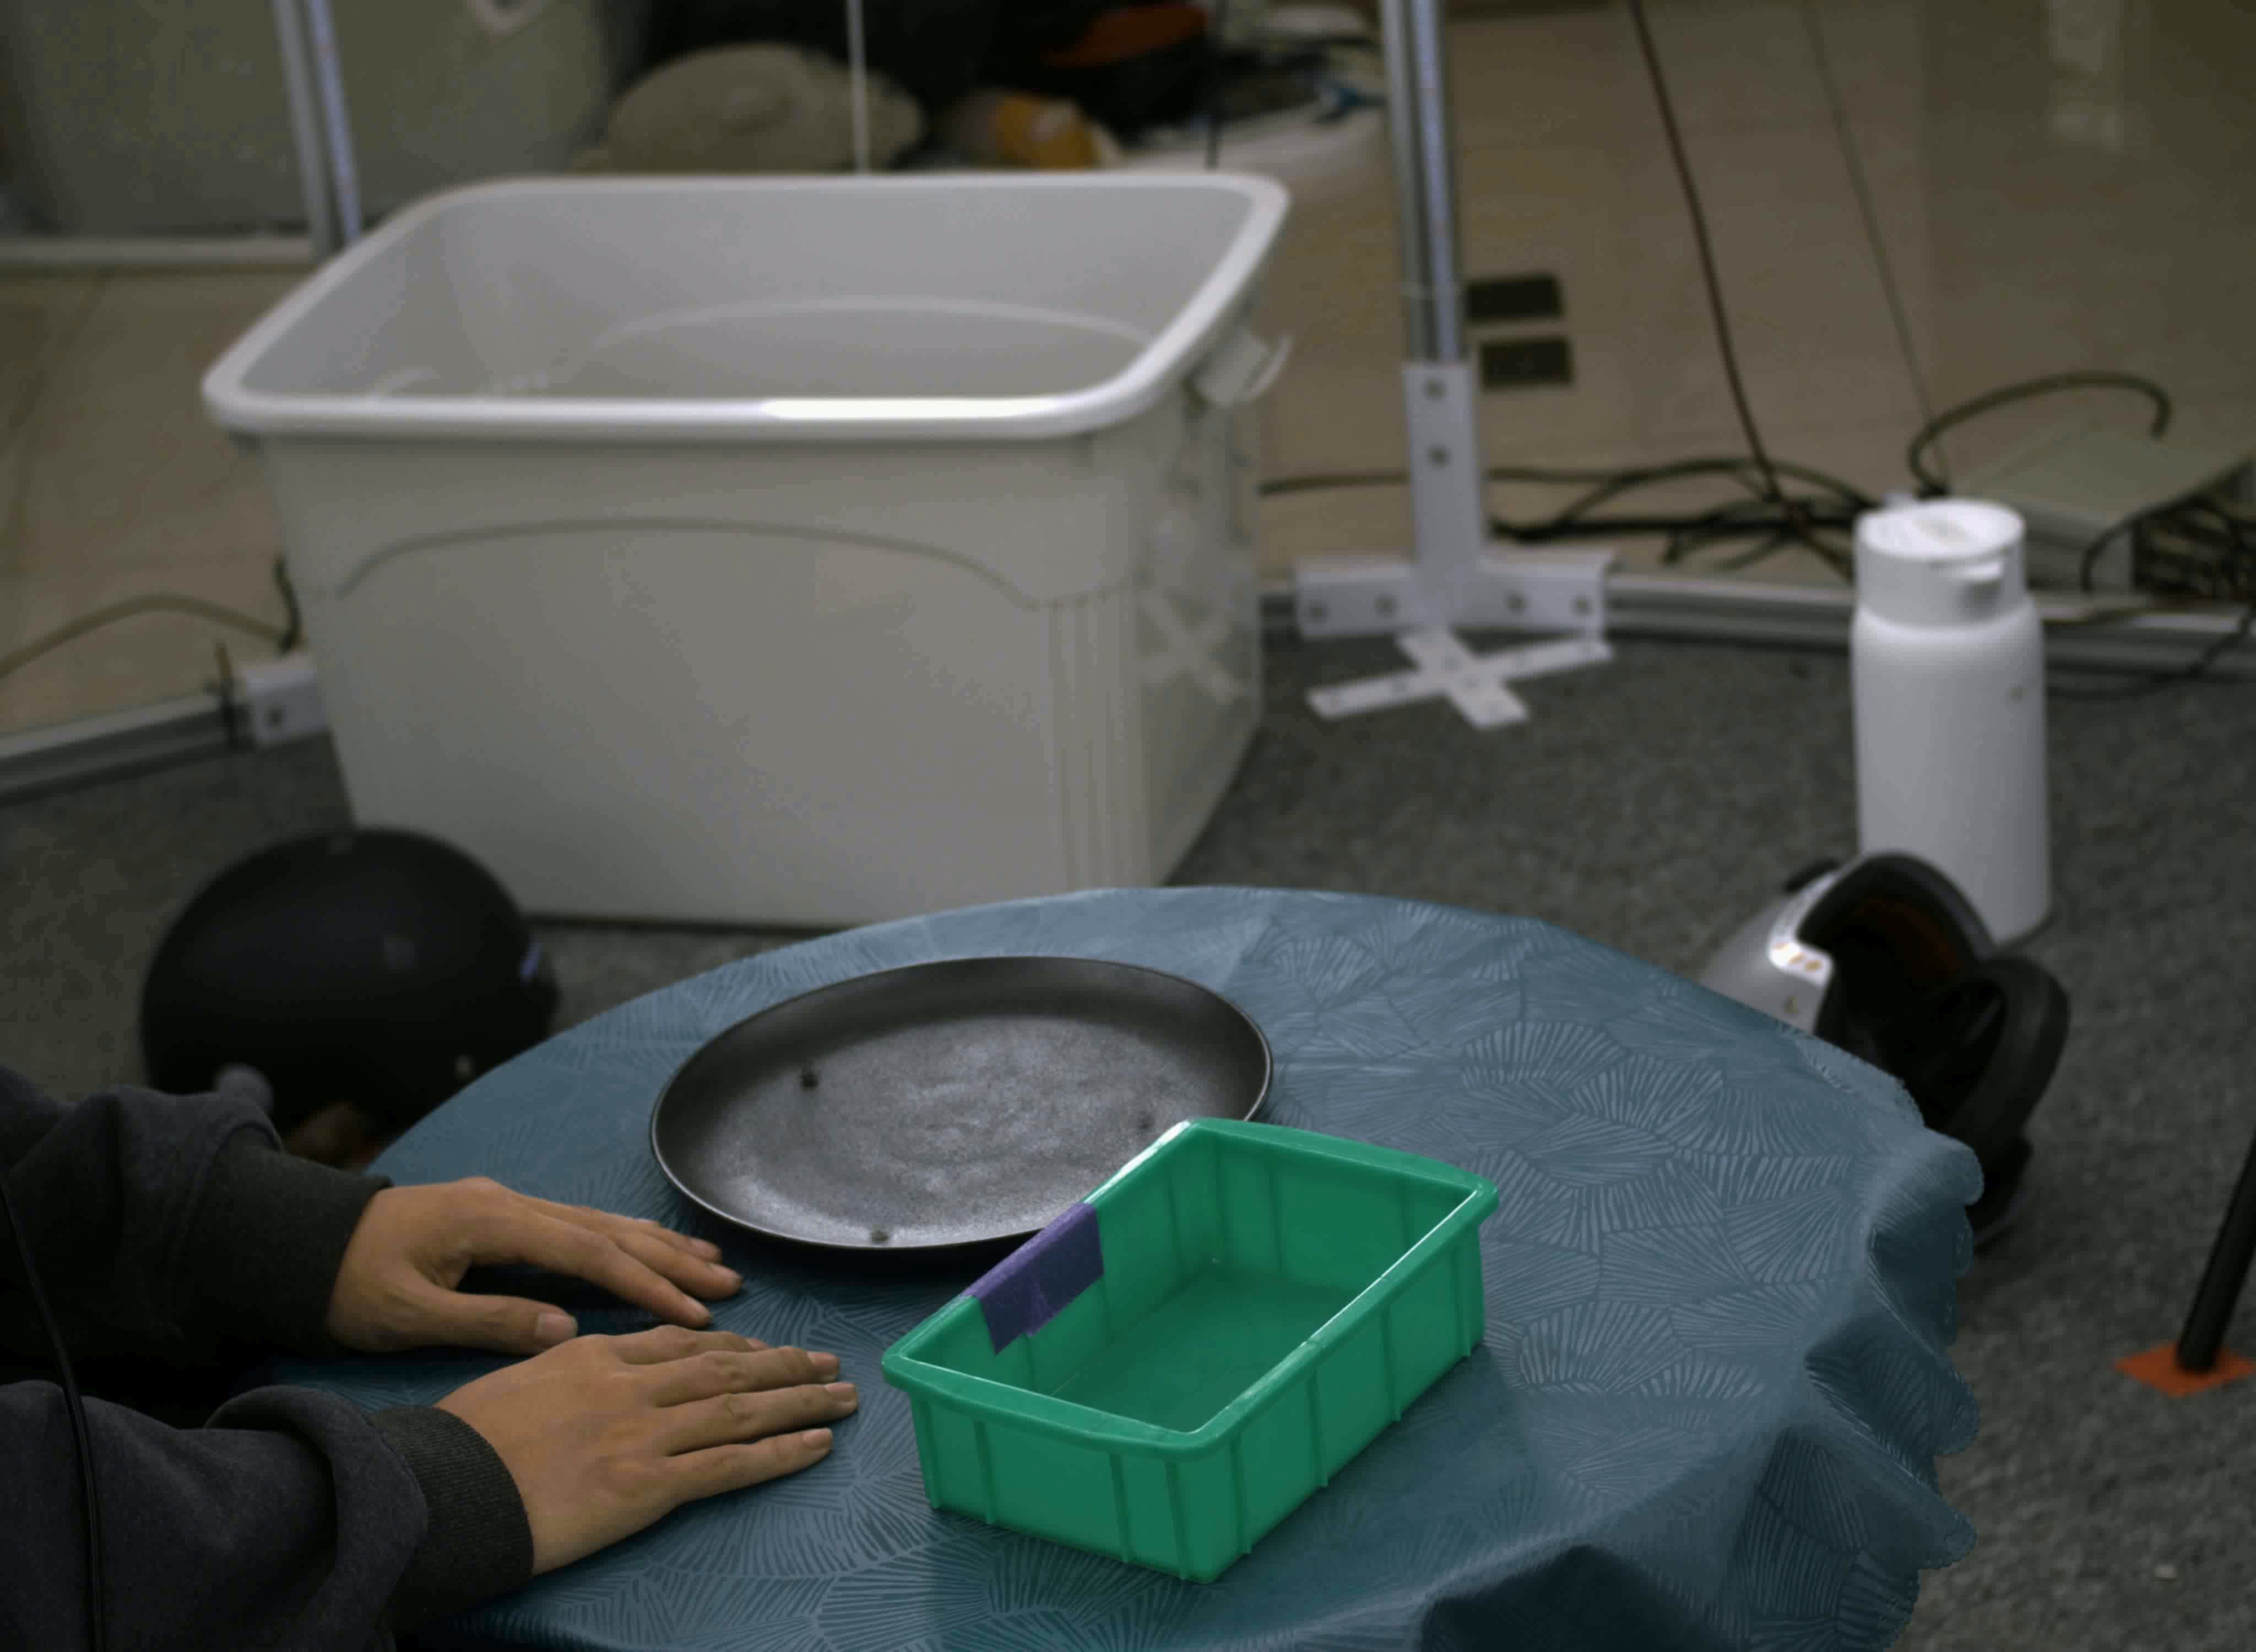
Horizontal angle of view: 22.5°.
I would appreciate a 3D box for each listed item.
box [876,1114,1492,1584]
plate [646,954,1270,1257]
[{"bbox_3d":[0.025,0.181,1.973,0.138,0.066,0.208,9,31,34],"label":"box"},{"bbox_3d":[-0.065,0.112,2.193,0.244,0.024,0.241,-5,25,3],"label":"plate"}]
